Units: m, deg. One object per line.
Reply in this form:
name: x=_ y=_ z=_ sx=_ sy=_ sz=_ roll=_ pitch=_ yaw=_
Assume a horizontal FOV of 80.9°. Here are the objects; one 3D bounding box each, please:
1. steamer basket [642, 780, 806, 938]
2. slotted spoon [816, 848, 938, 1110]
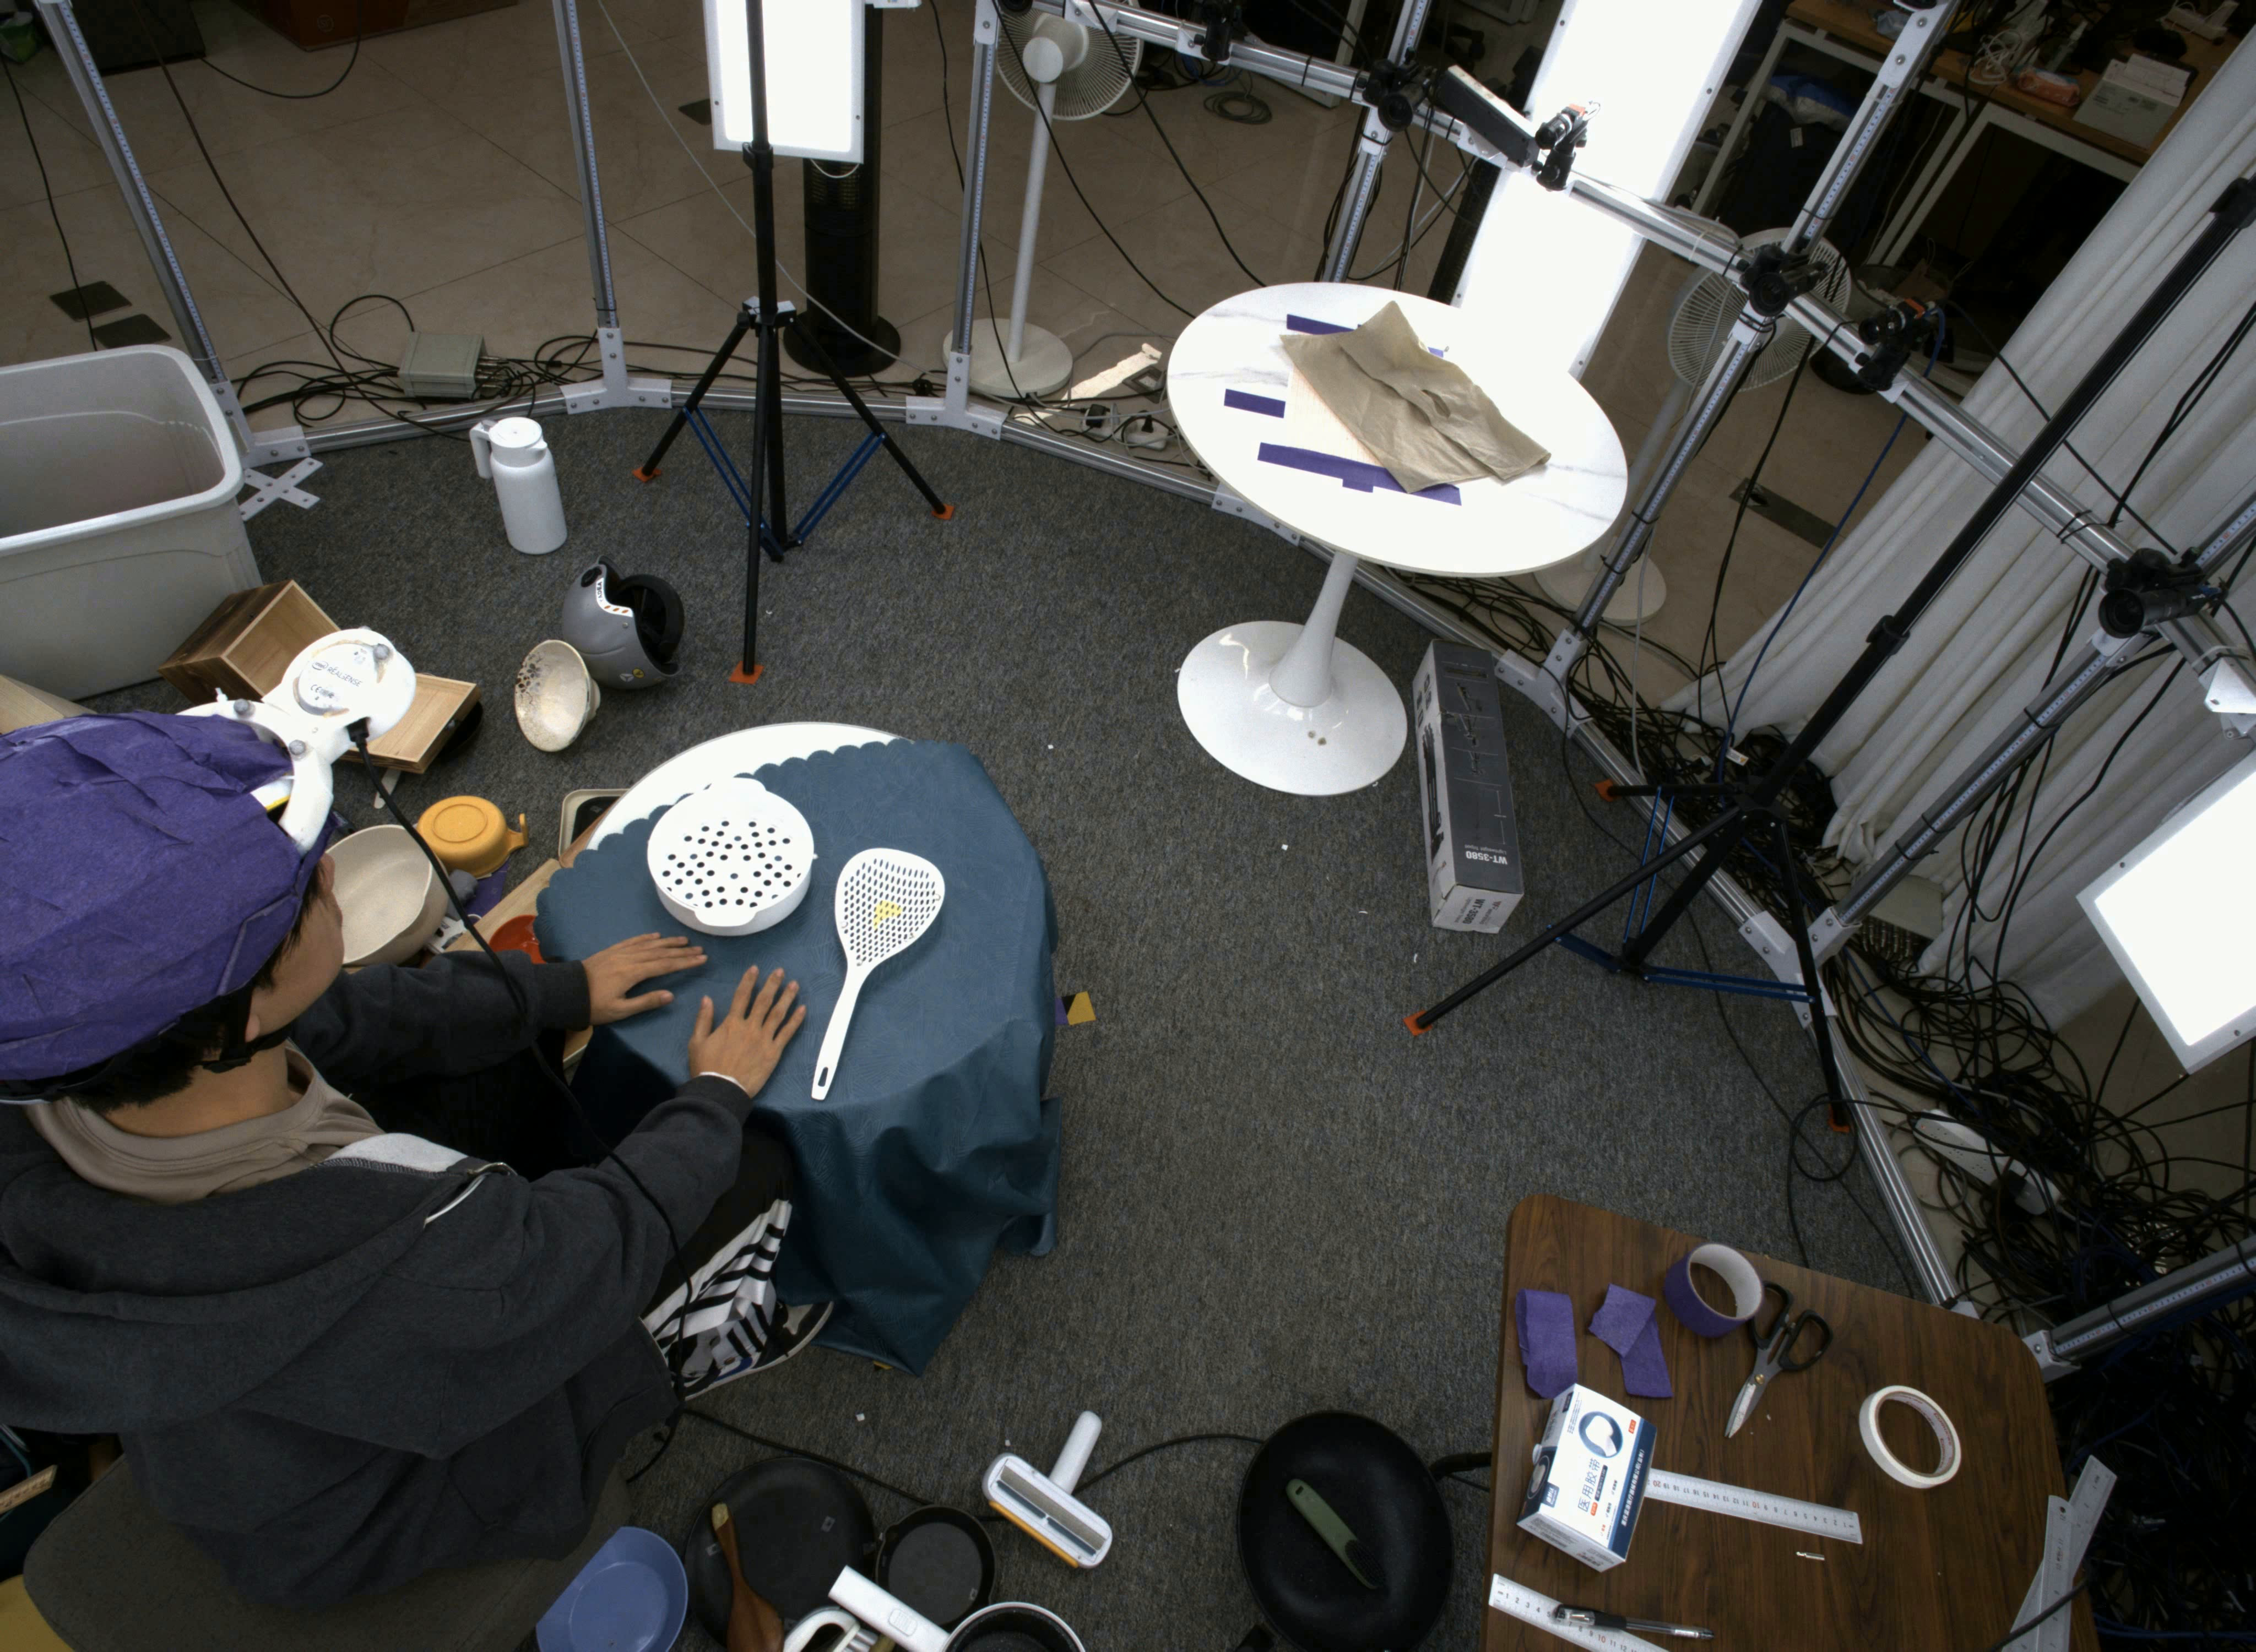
steamer basket: x=-0.507 y=0.046 z=1.630 sx=0.202 sy=0.071 sz=0.225 roll=0 pitch=52 yaw=-13
slotted spoon: x=-0.332 y=0.178 z=1.594 sx=0.136 sy=0.051 sz=0.343 roll=16 pitch=52 yaw=-5
